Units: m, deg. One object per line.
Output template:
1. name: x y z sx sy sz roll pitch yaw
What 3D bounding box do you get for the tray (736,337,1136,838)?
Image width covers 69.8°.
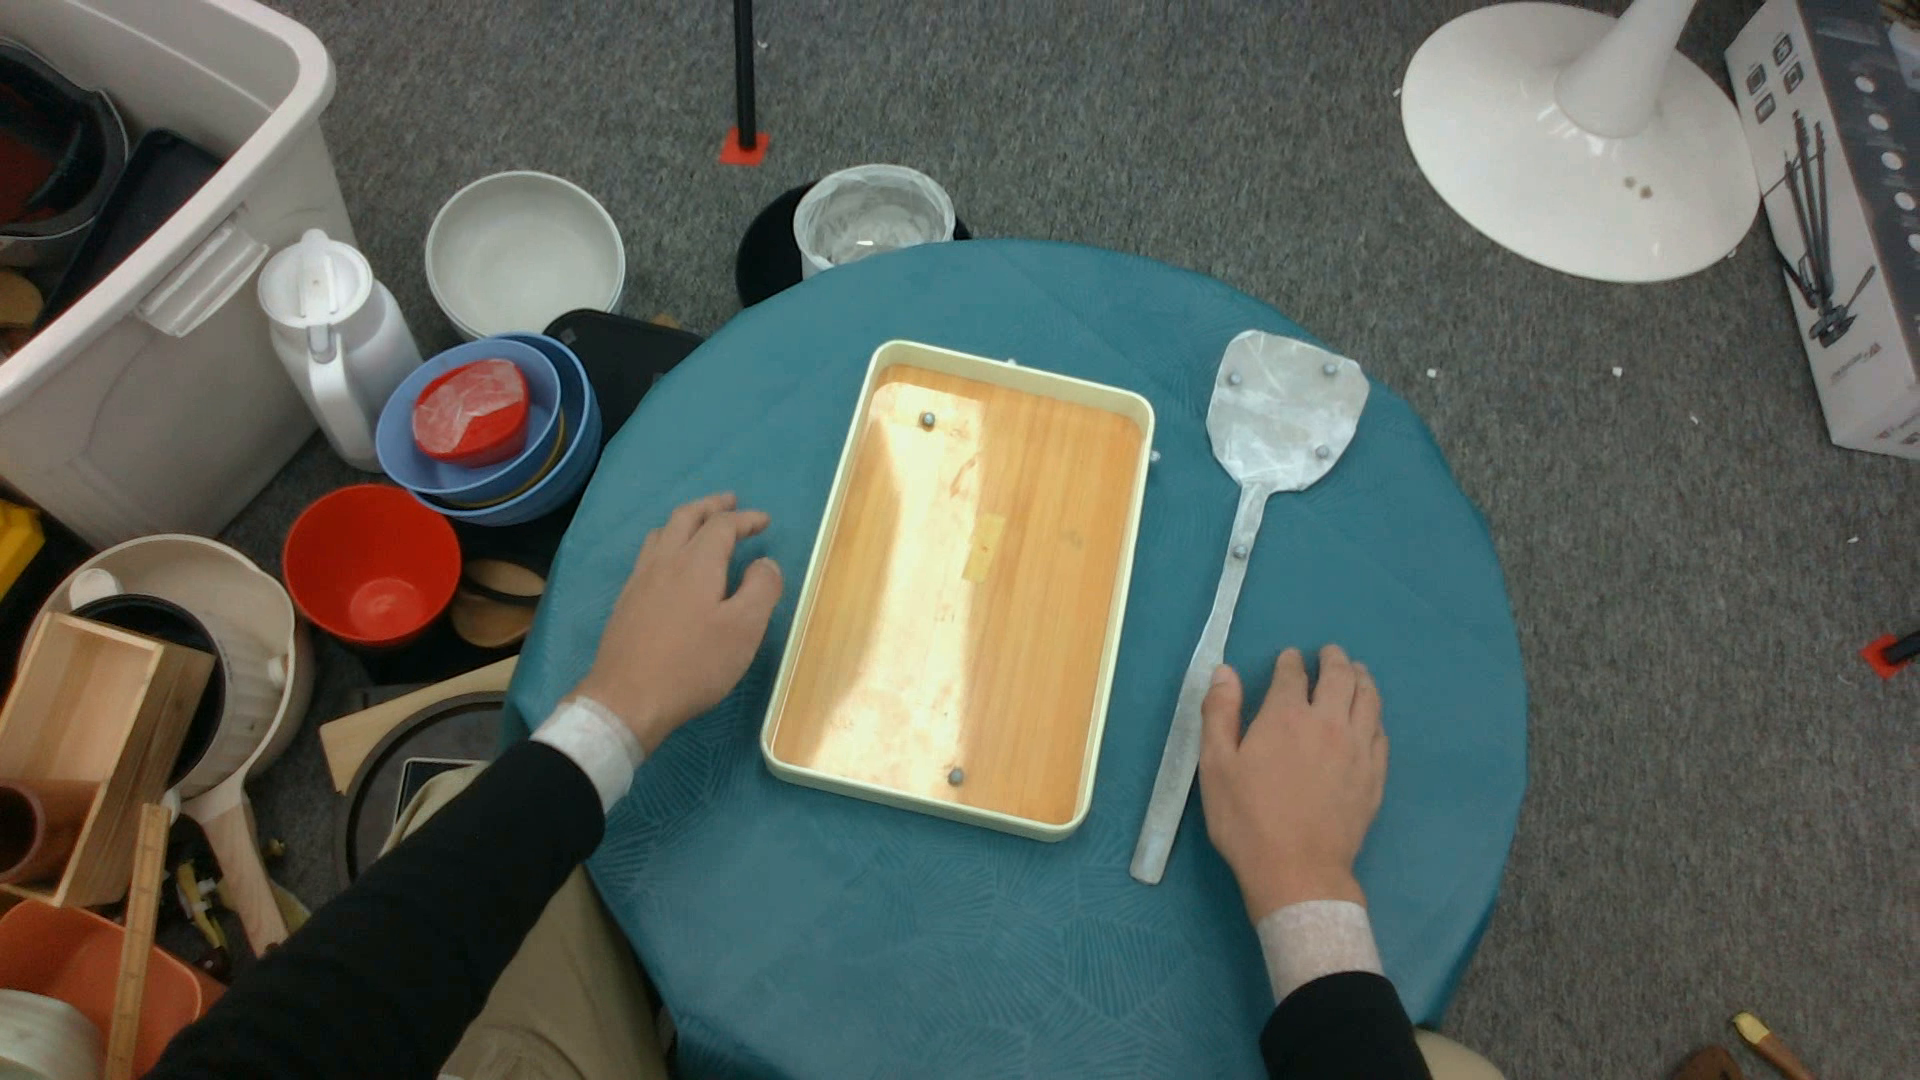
1. tray: -0.006 0.018 0.840 0.191 0.027 0.301 14 61 0

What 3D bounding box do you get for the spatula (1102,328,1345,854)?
1. spatula: 0.153 0.024 0.850 0.098 0.044 0.366 20 61 3
